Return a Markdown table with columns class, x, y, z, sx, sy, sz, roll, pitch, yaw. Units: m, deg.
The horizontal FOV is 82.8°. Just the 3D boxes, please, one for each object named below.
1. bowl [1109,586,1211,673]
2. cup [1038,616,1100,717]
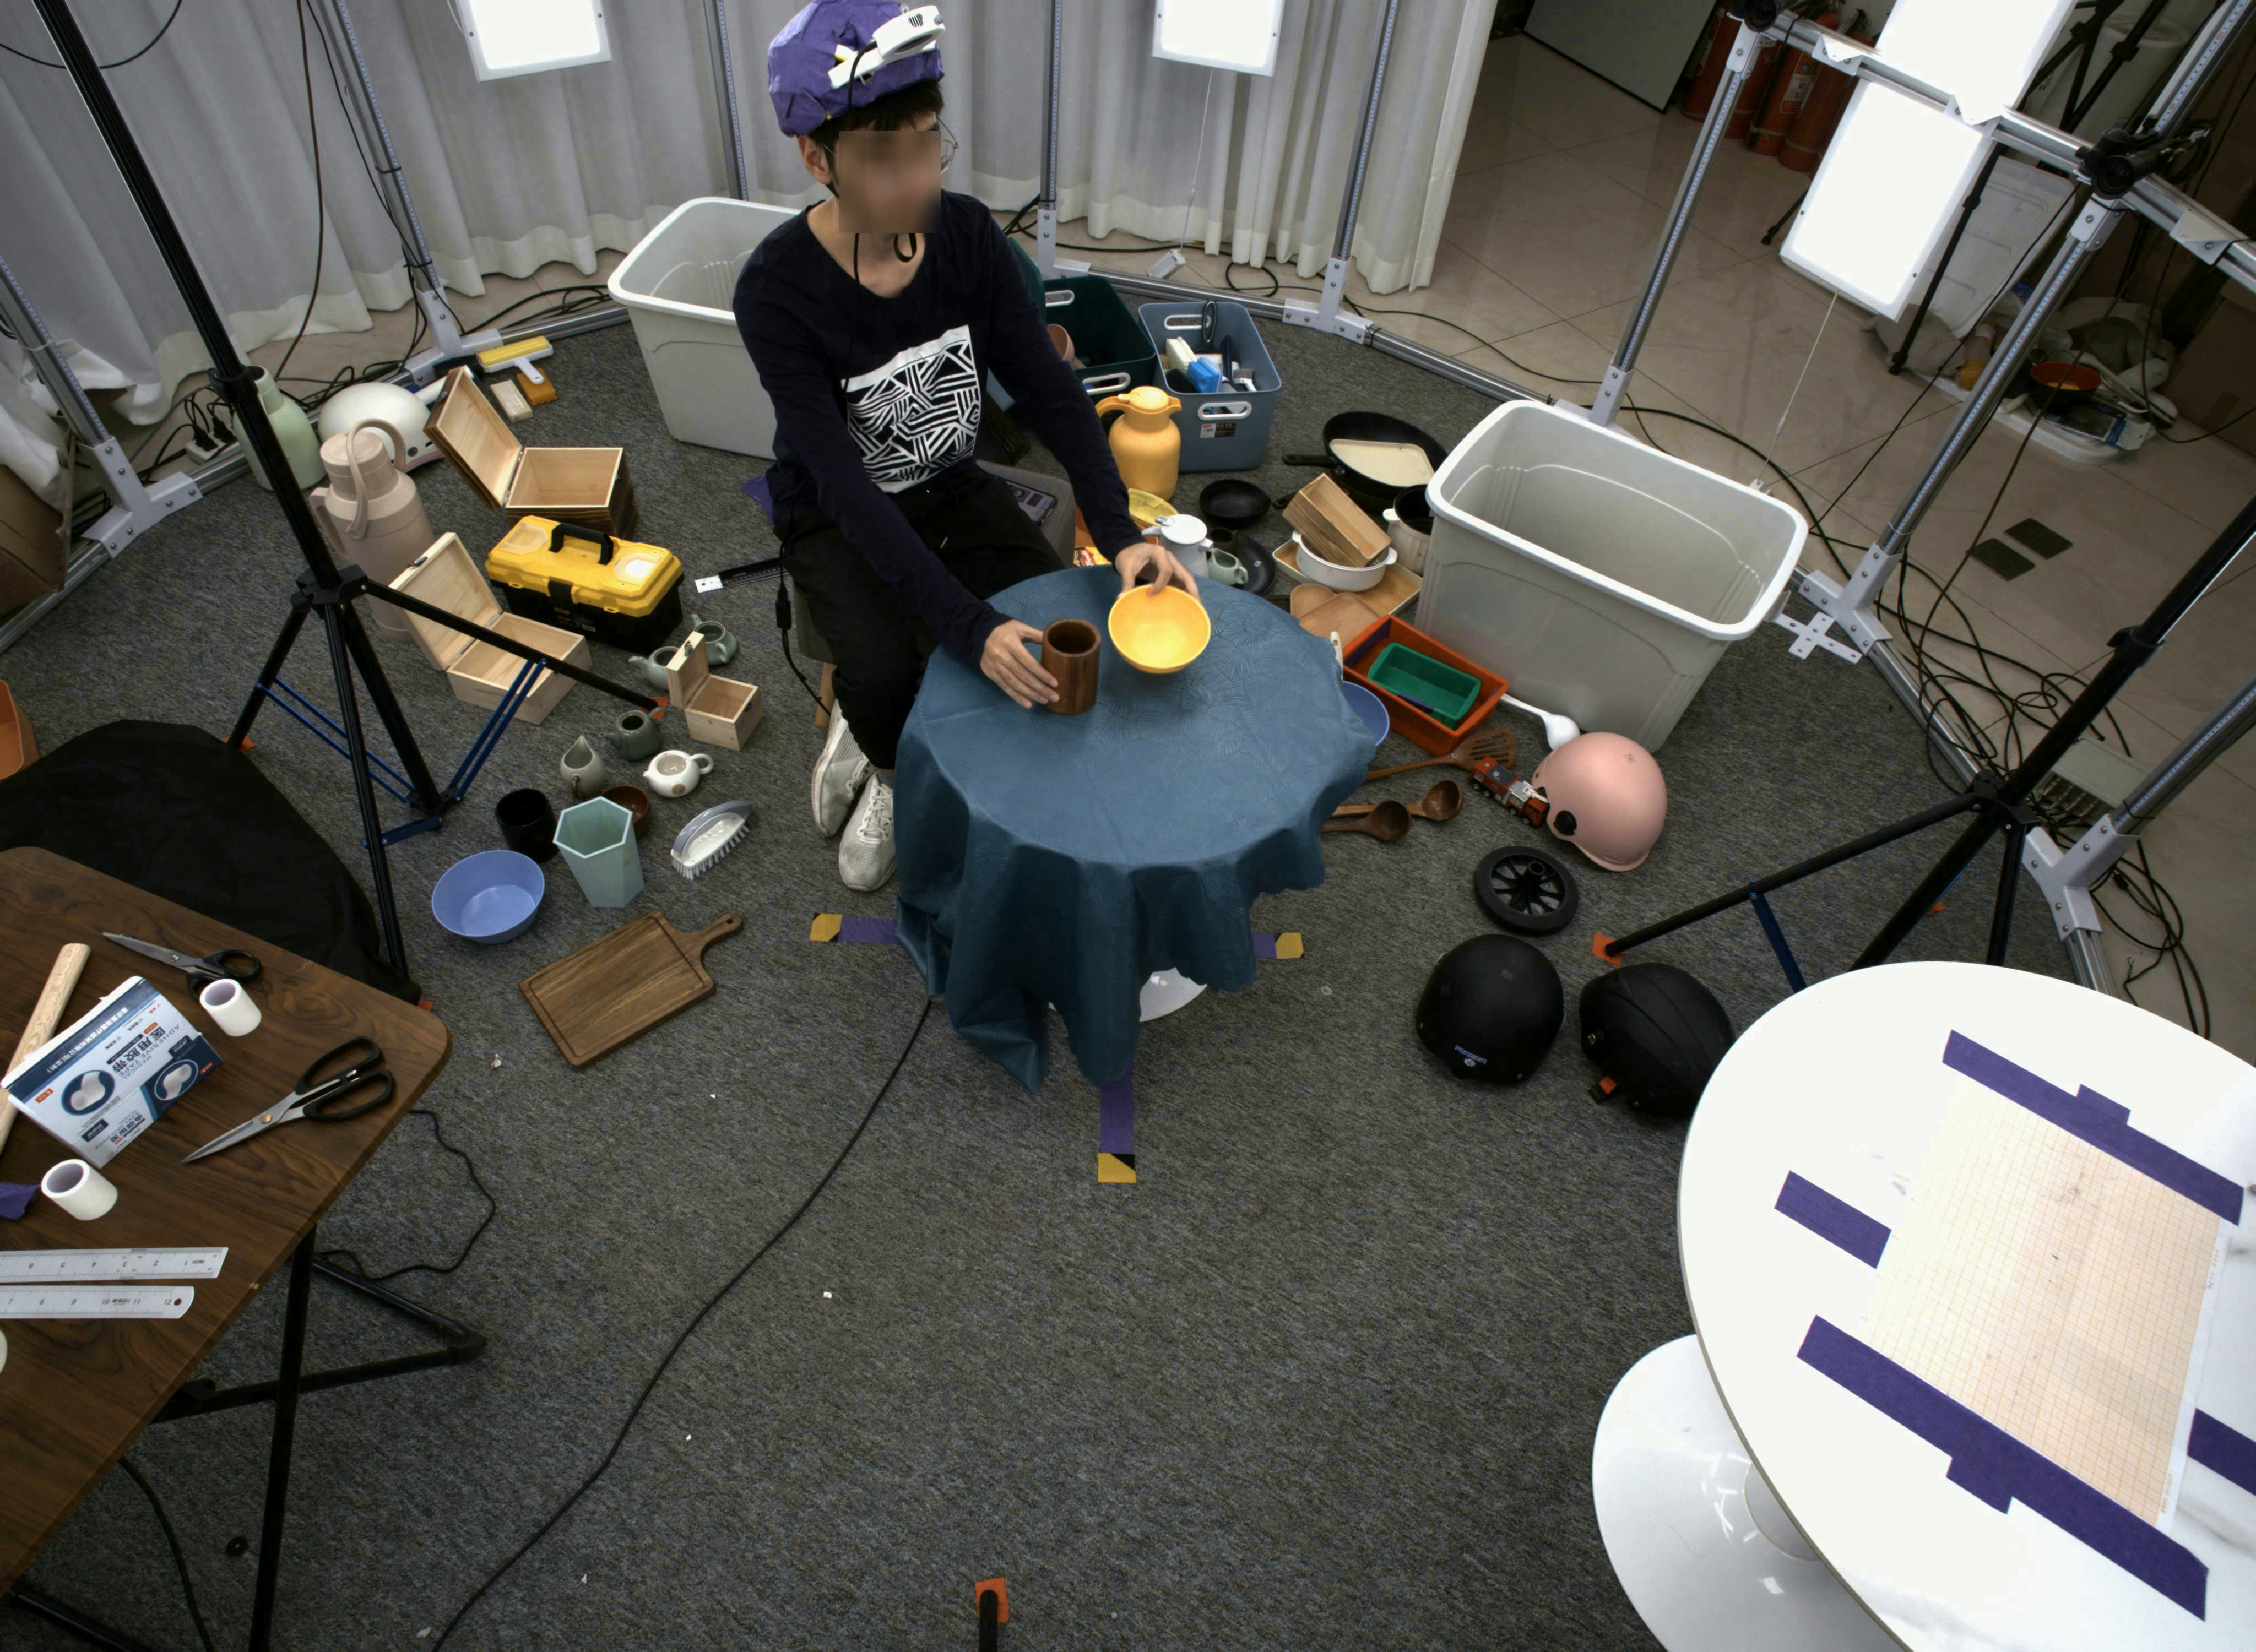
| class | x | y | z | sx | sy | sz | roll | pitch | yaw |
| --- | --- | --- | --- | --- | --- | --- | --- | --- | --- |
| bowl | 0.043 | -0.269 | 1.828 | 0.145 | 0.059 | 0.148 | 2 | 58 | -4 |
| cup | -0.084 | -0.221 | 1.778 | 0.087 | 0.115 | 0.090 | 4 | 46 | -4 |
